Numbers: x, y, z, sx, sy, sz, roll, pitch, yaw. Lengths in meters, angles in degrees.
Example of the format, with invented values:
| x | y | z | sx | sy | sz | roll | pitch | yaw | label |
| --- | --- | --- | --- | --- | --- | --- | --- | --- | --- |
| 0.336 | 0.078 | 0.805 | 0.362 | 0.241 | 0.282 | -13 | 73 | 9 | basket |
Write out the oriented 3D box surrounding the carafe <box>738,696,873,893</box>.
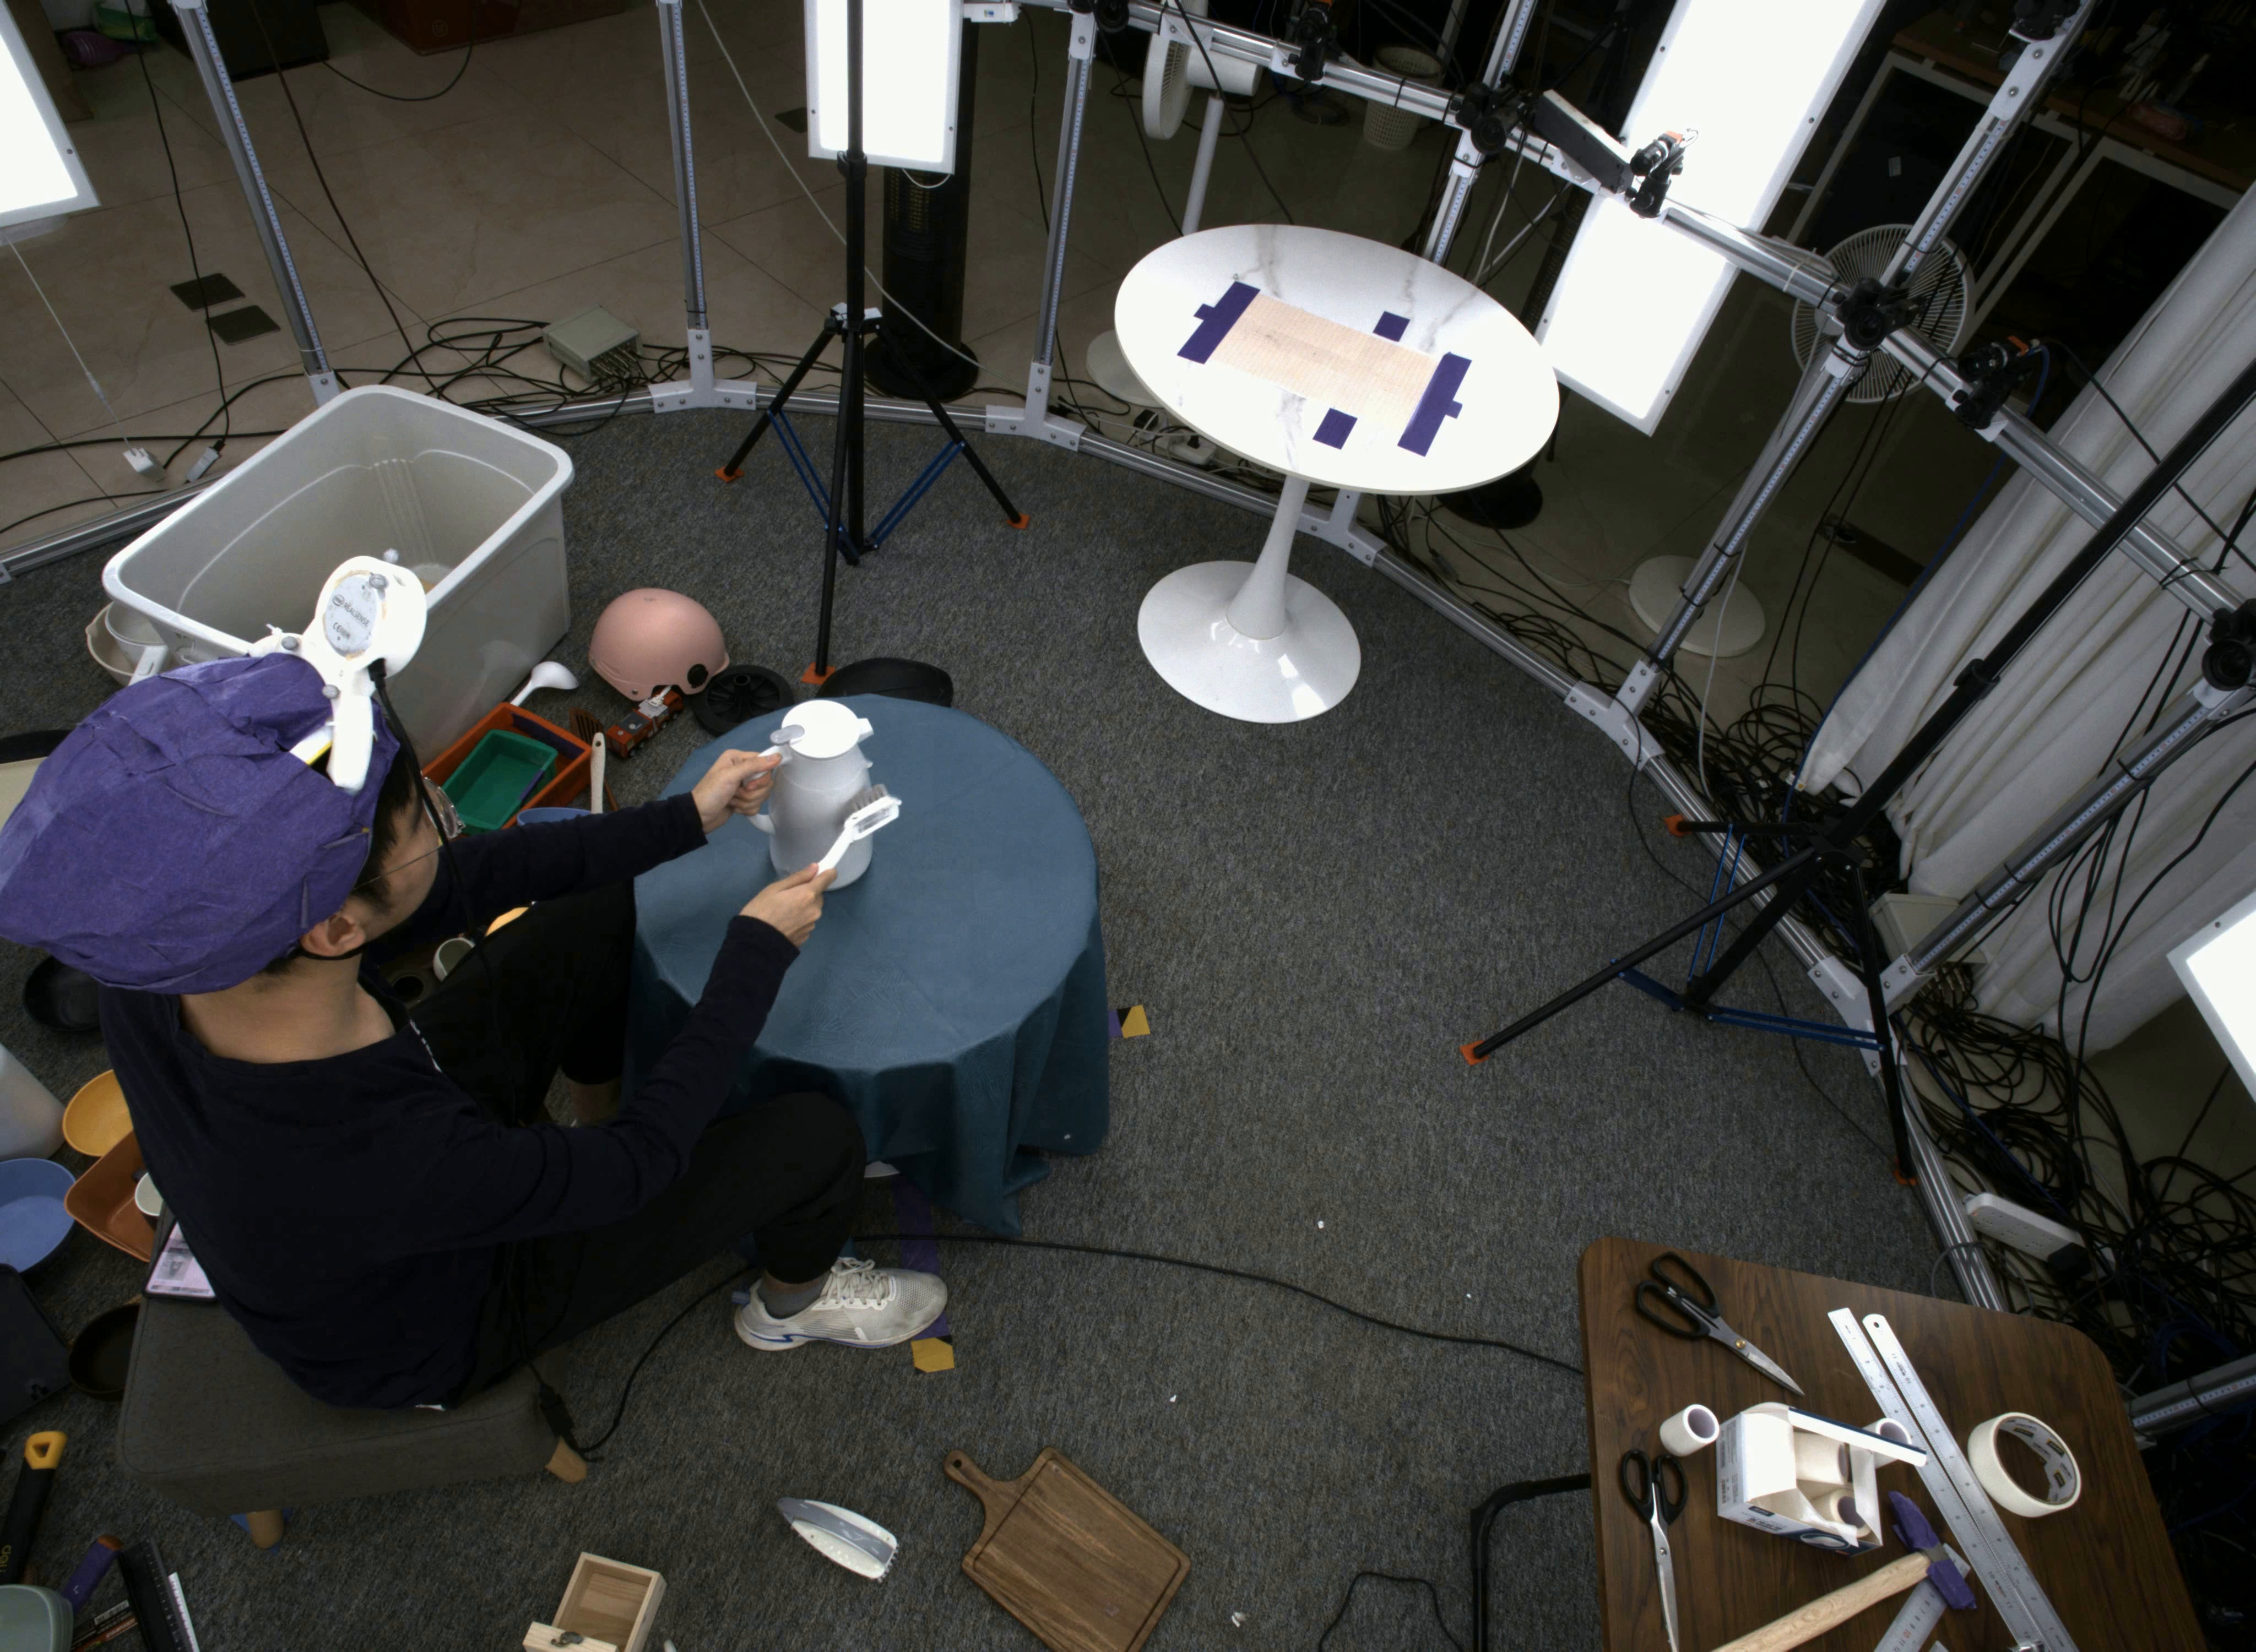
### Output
| x | y | z | sx | sy | sz | roll | pitch | yaw | label |
| --- | --- | --- | --- | --- | --- | --- | --- | --- | --- |
| -0.396 | -0.038 | 1.598 | 0.168 | 0.254 | 0.129 | -21 | 59 | -26 | carafe |

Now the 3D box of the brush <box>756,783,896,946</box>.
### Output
| x | y | z | sx | sy | sz | roll | pitch | yaw | label |
| --- | --- | --- | --- | --- | --- | --- | --- | --- | --- |
| -0.364 | 0.040 | 1.526 | 0.049 | 0.035 | 0.243 | 28 | 61 | 22 | brush |
